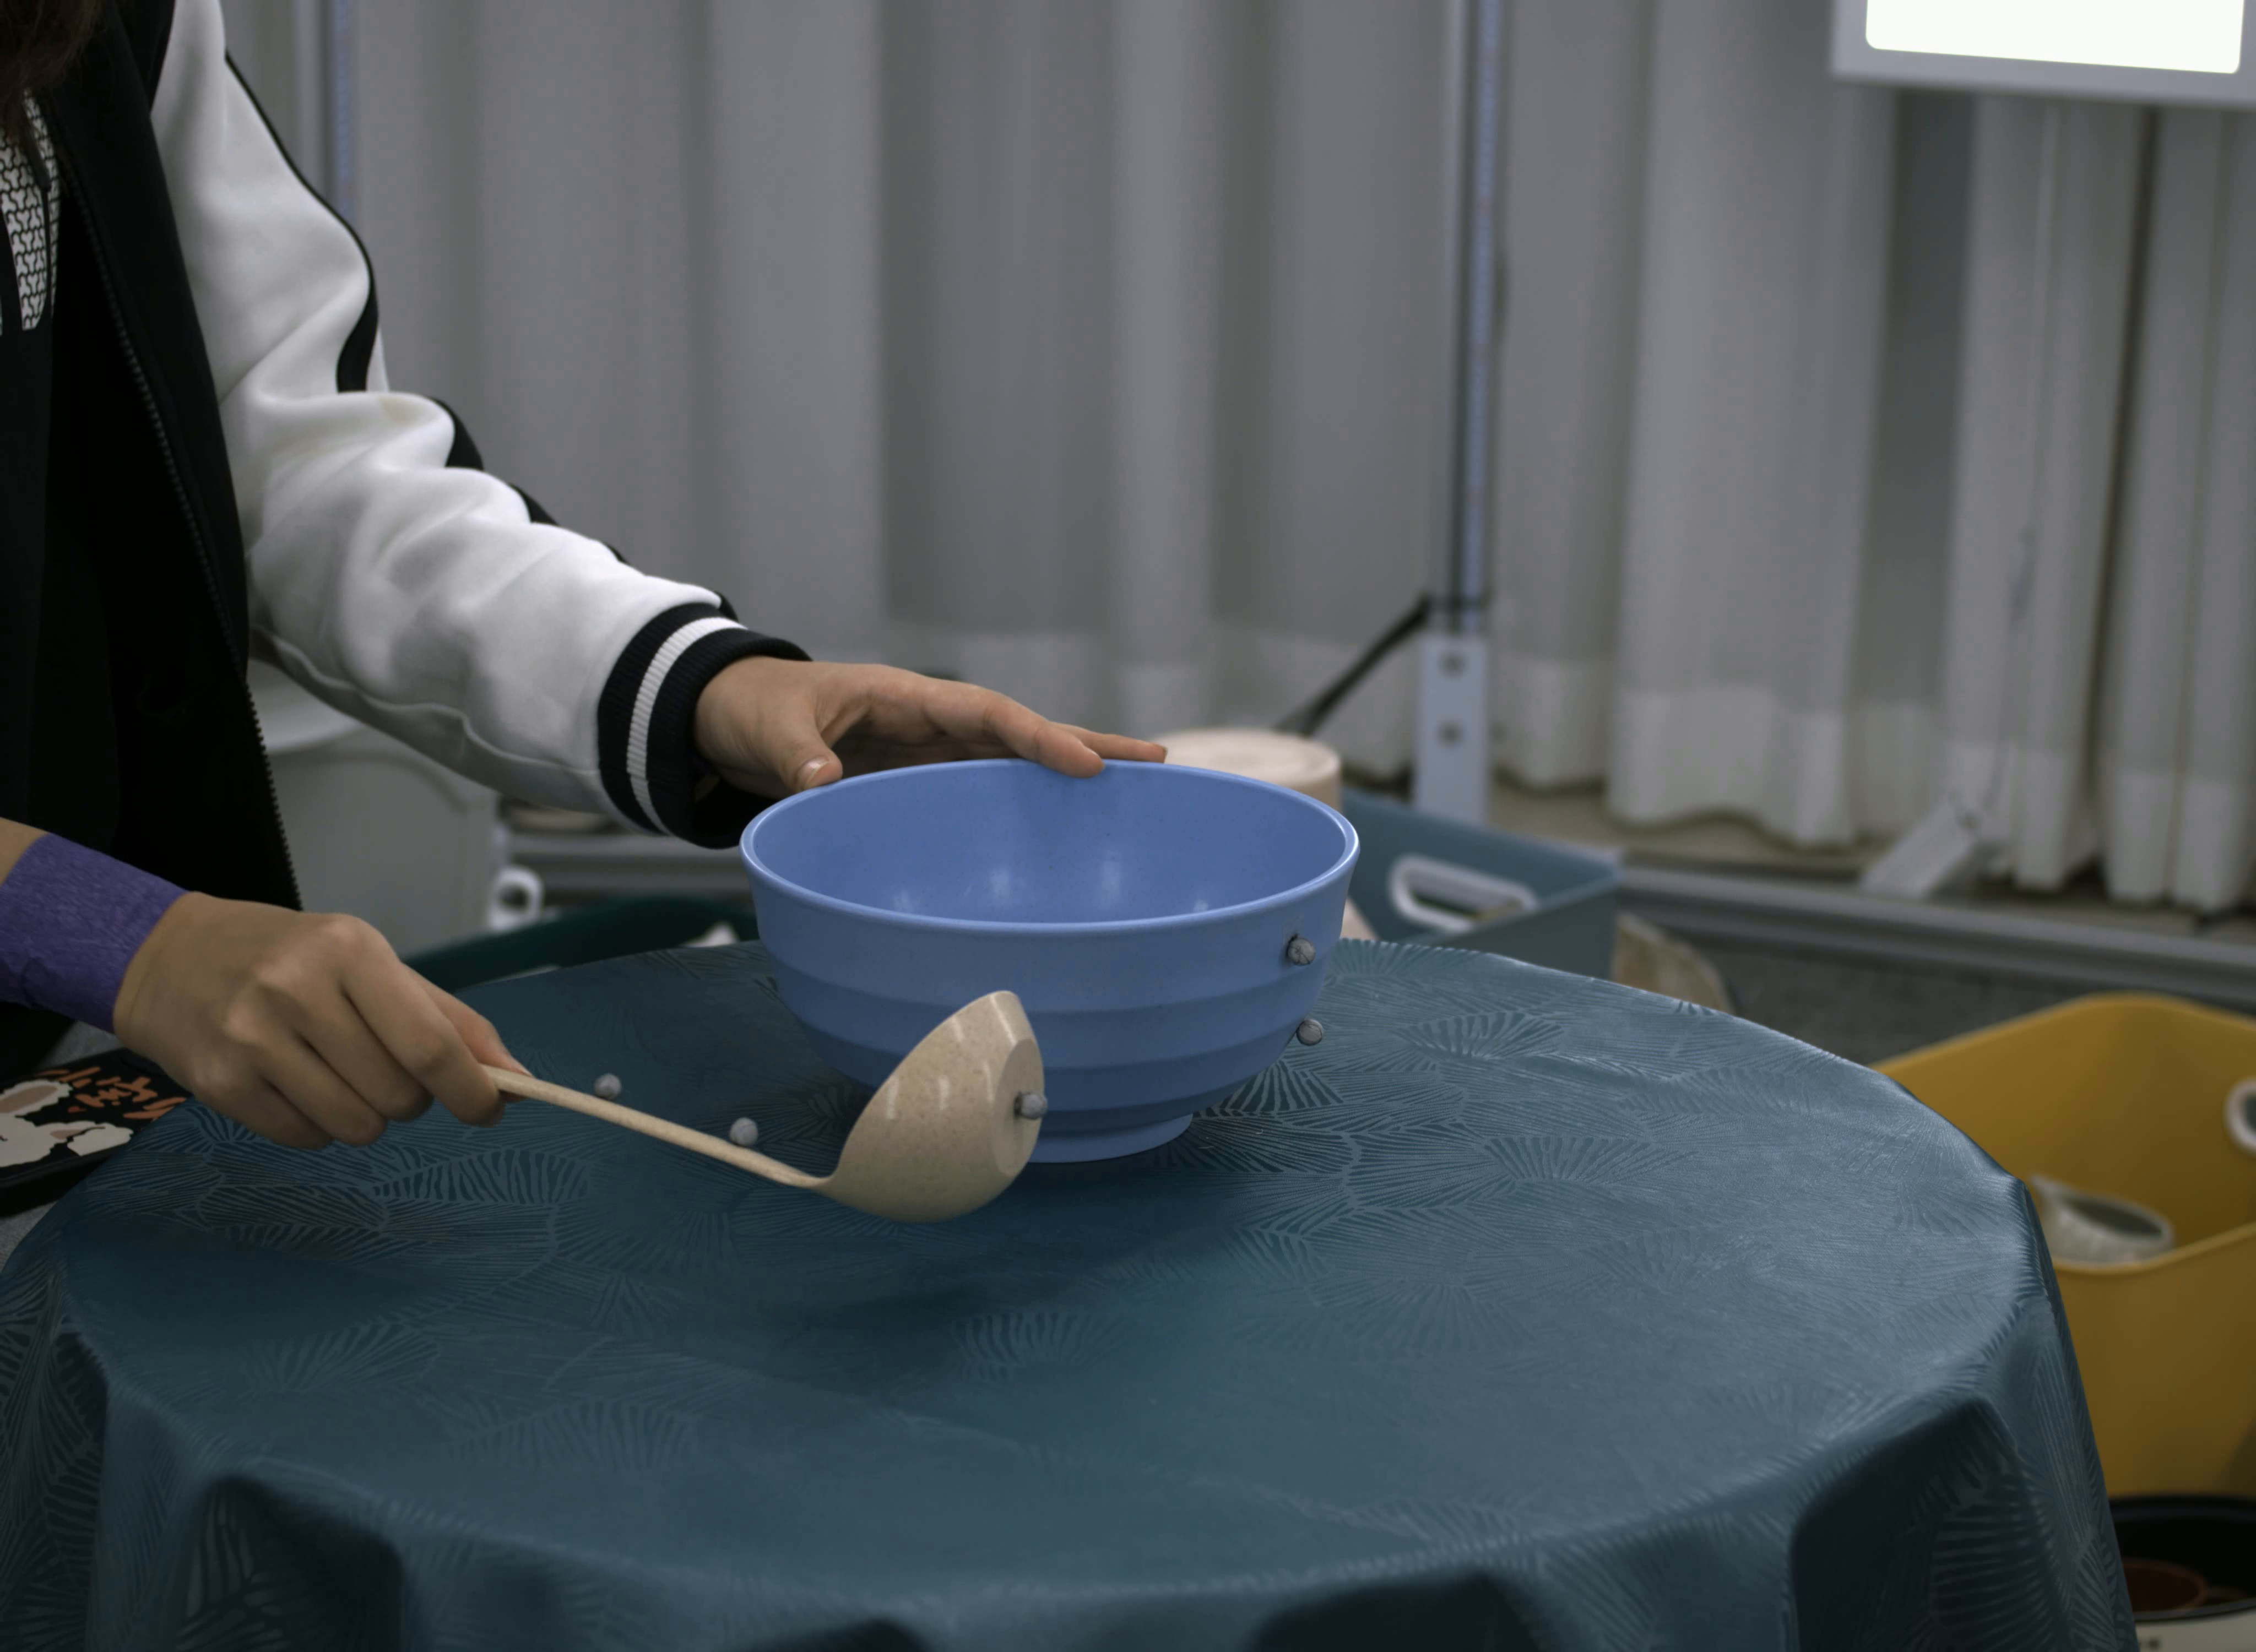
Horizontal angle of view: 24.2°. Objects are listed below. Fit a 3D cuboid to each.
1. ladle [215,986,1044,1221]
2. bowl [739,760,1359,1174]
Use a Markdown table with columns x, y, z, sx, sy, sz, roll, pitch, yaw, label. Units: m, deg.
| x | y | z | sx | sy | sz | roll | pitch | yaw | label |
| --- | --- | --- | --- | --- | --- | --- | --- | --- | --- |
| -0.147 | 0.058 | 1.539 | 0.252 | 0.073 | 0.072 | 13 | -4 | 18 | ladle |
| -0.024 | 0.051 | 1.676 | 0.196 | 0.096 | 0.195 | -1 | 17 | 1 | bowl |
